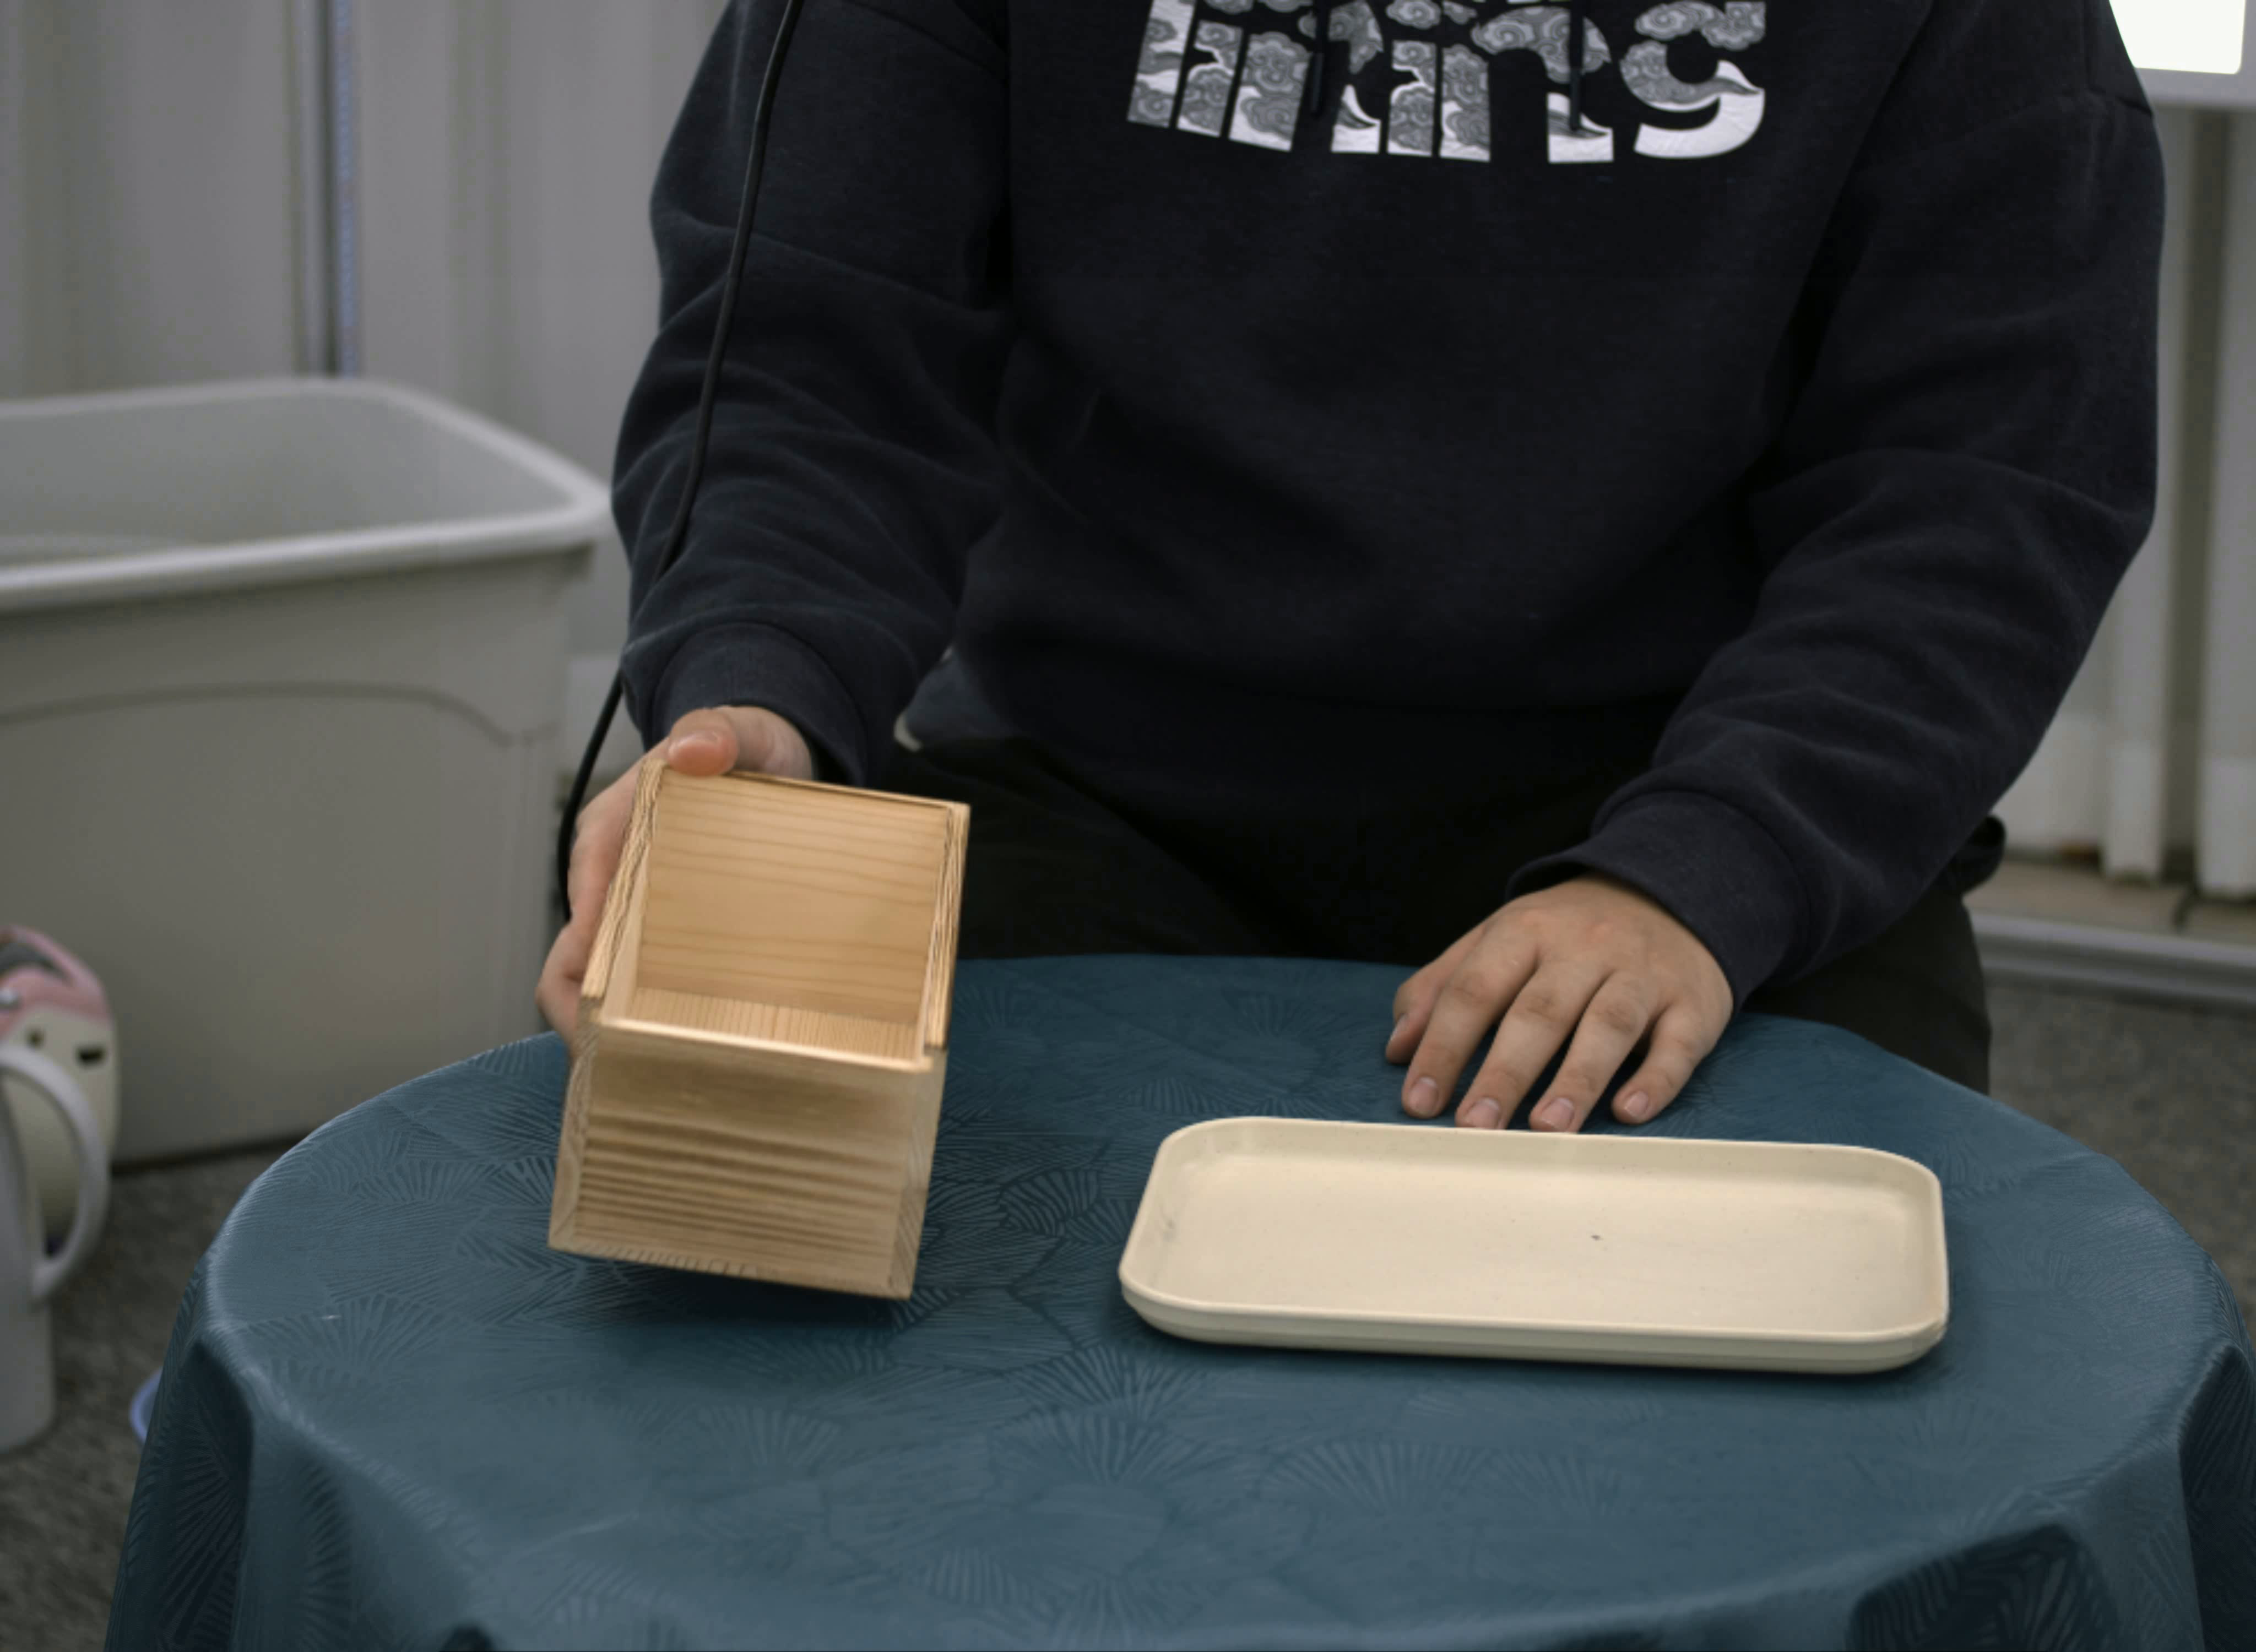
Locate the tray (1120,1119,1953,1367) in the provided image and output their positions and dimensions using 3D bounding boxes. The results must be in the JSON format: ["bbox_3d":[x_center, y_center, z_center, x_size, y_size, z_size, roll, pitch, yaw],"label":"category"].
[{"bbox_3d":[0.122,0.123,1.559,0.238,0.017,0.171,2,15,5],"label":"tray"}]

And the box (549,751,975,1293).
[{"bbox_3d":[-0.107,0.055,1.585,0.107,0.081,0.210,8,19,-3],"label":"box"}]
